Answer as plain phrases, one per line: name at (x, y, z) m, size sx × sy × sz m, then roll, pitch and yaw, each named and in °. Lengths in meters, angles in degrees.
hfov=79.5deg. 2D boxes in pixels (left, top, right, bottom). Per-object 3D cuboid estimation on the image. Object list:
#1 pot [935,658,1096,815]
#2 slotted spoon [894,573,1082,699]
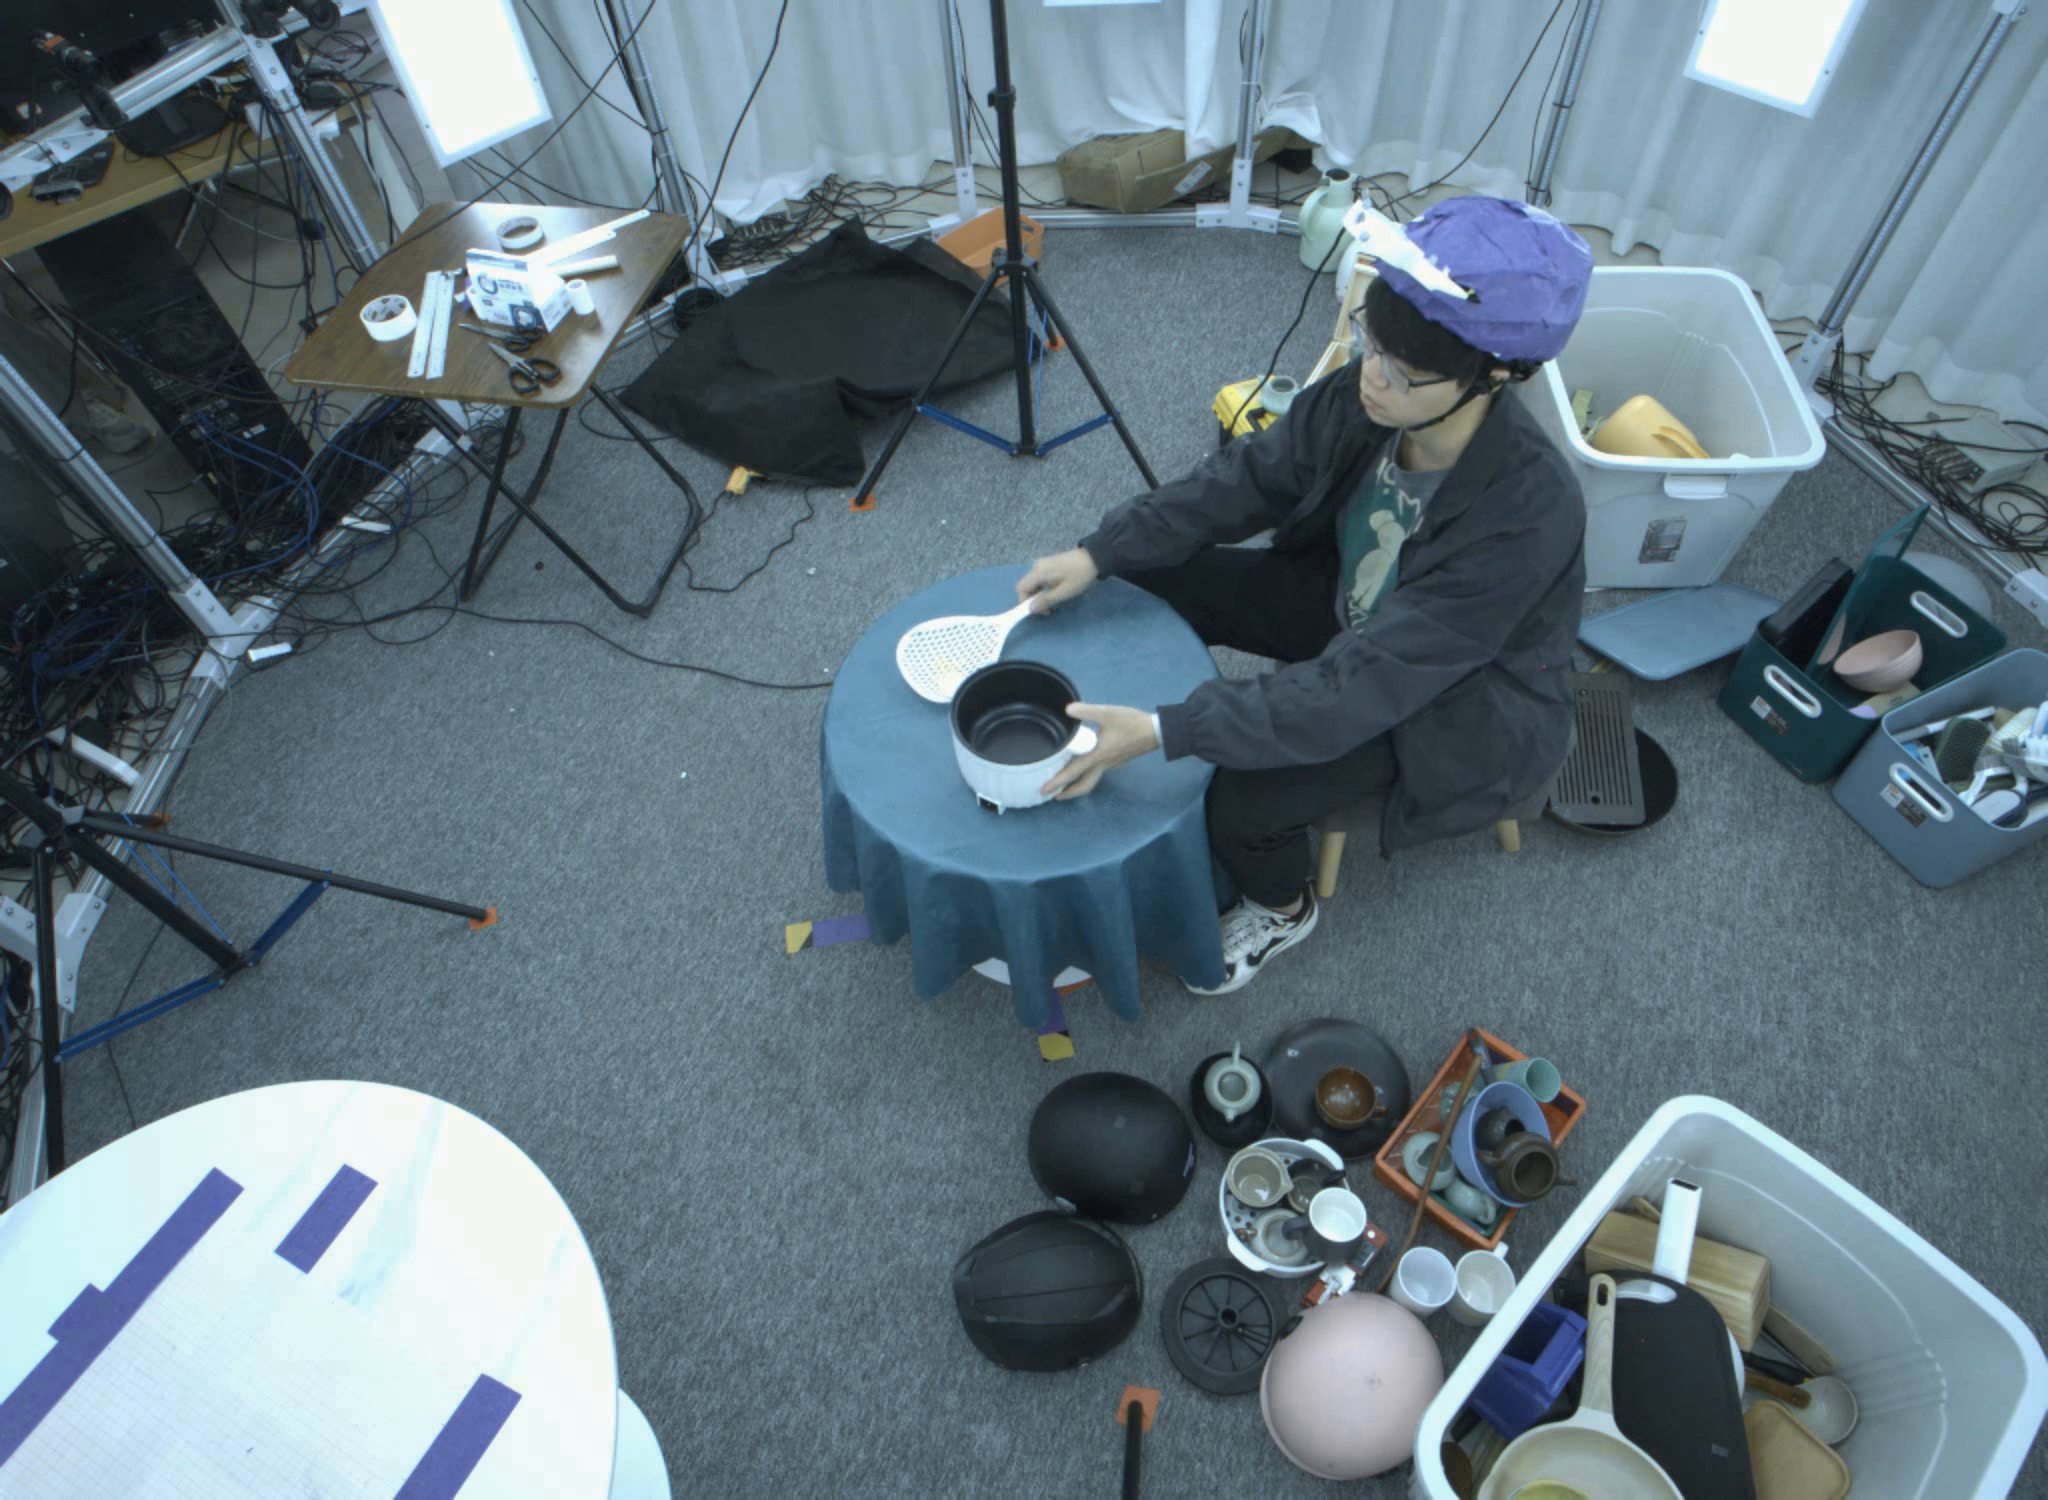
pot at (-0.008, -0.020, 1.707) m, size 0.237 × 0.144 × 0.191 m, roll 23°, pitch 62°, yaw 16°
slotted spoon at (-0.040, -0.189, 1.884) m, size 0.350 × 0.050 × 0.135 m, roll -35°, pitch 74°, yaw -19°
